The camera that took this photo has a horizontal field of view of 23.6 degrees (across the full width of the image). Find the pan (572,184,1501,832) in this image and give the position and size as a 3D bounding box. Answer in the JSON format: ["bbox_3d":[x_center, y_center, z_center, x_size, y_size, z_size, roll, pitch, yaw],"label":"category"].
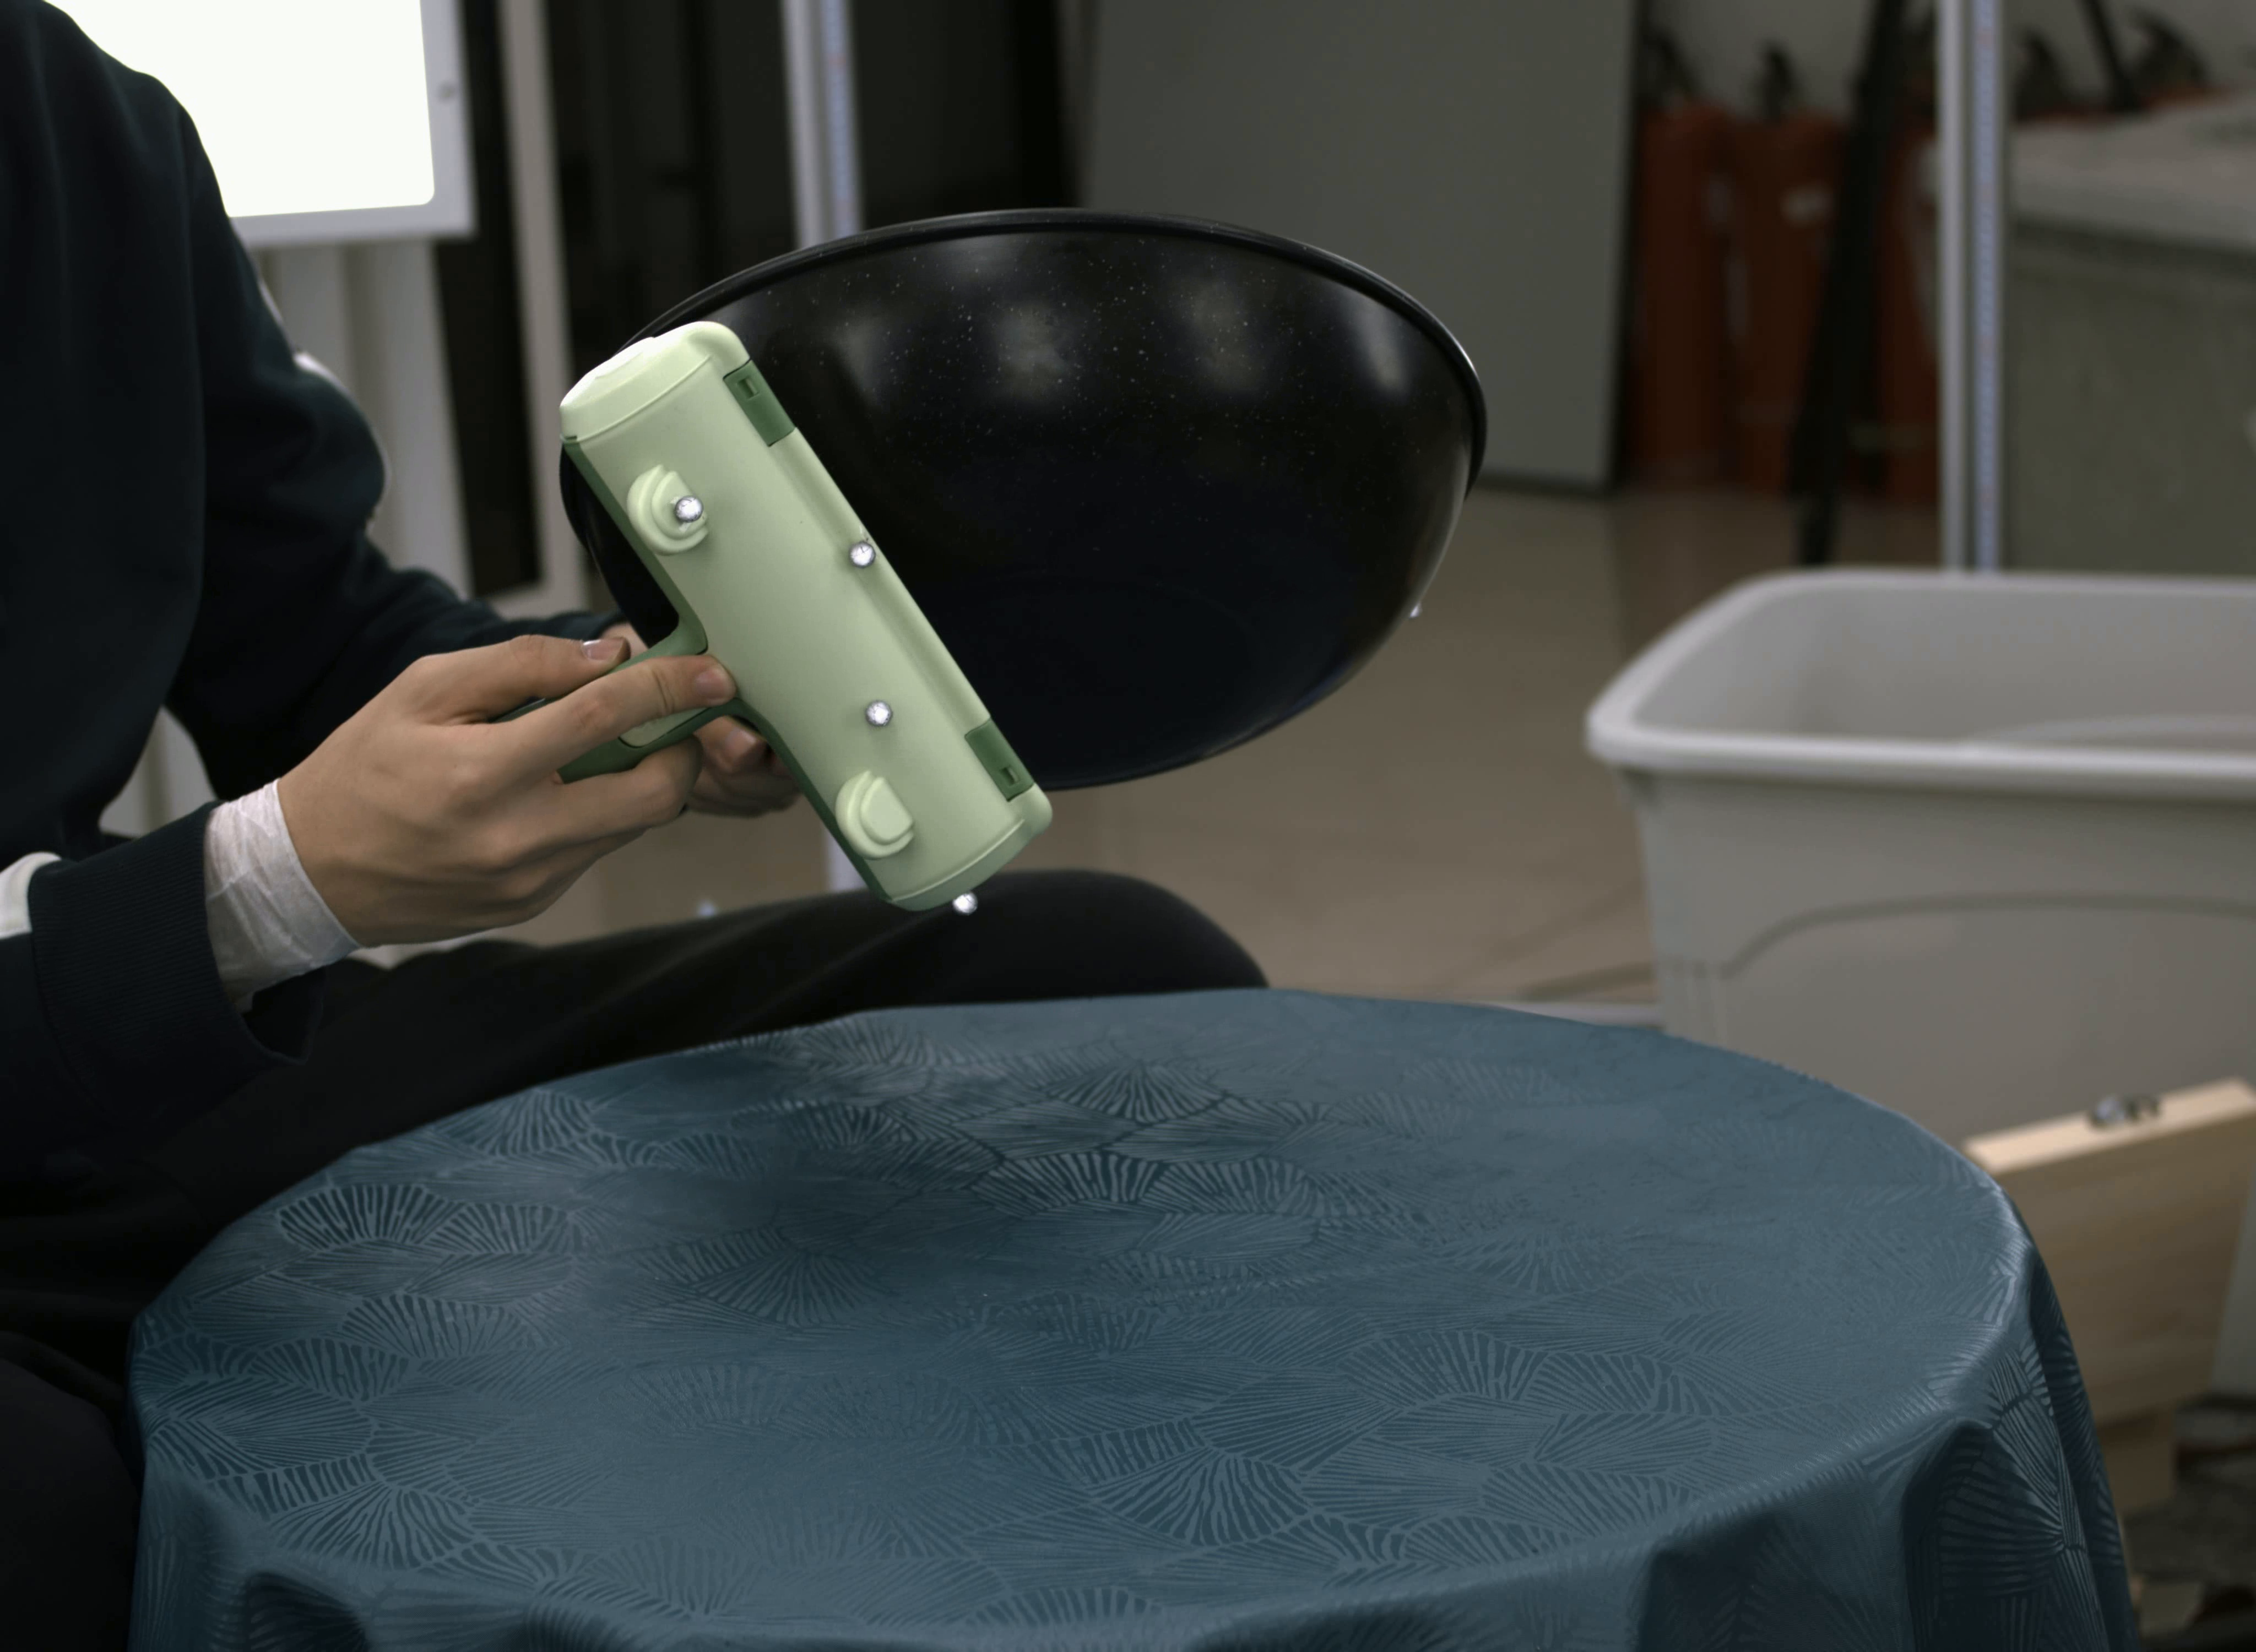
[{"bbox_3d":[-0.067,-0.061,1.836,0.303,0.113,0.481,12,-30,-25],"label":"pan"}]

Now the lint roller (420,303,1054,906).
[{"bbox_3d":[-0.147,-0.035,1.668,0.183,0.198,0.082,-32,15,12],"label":"lint roller"}]
